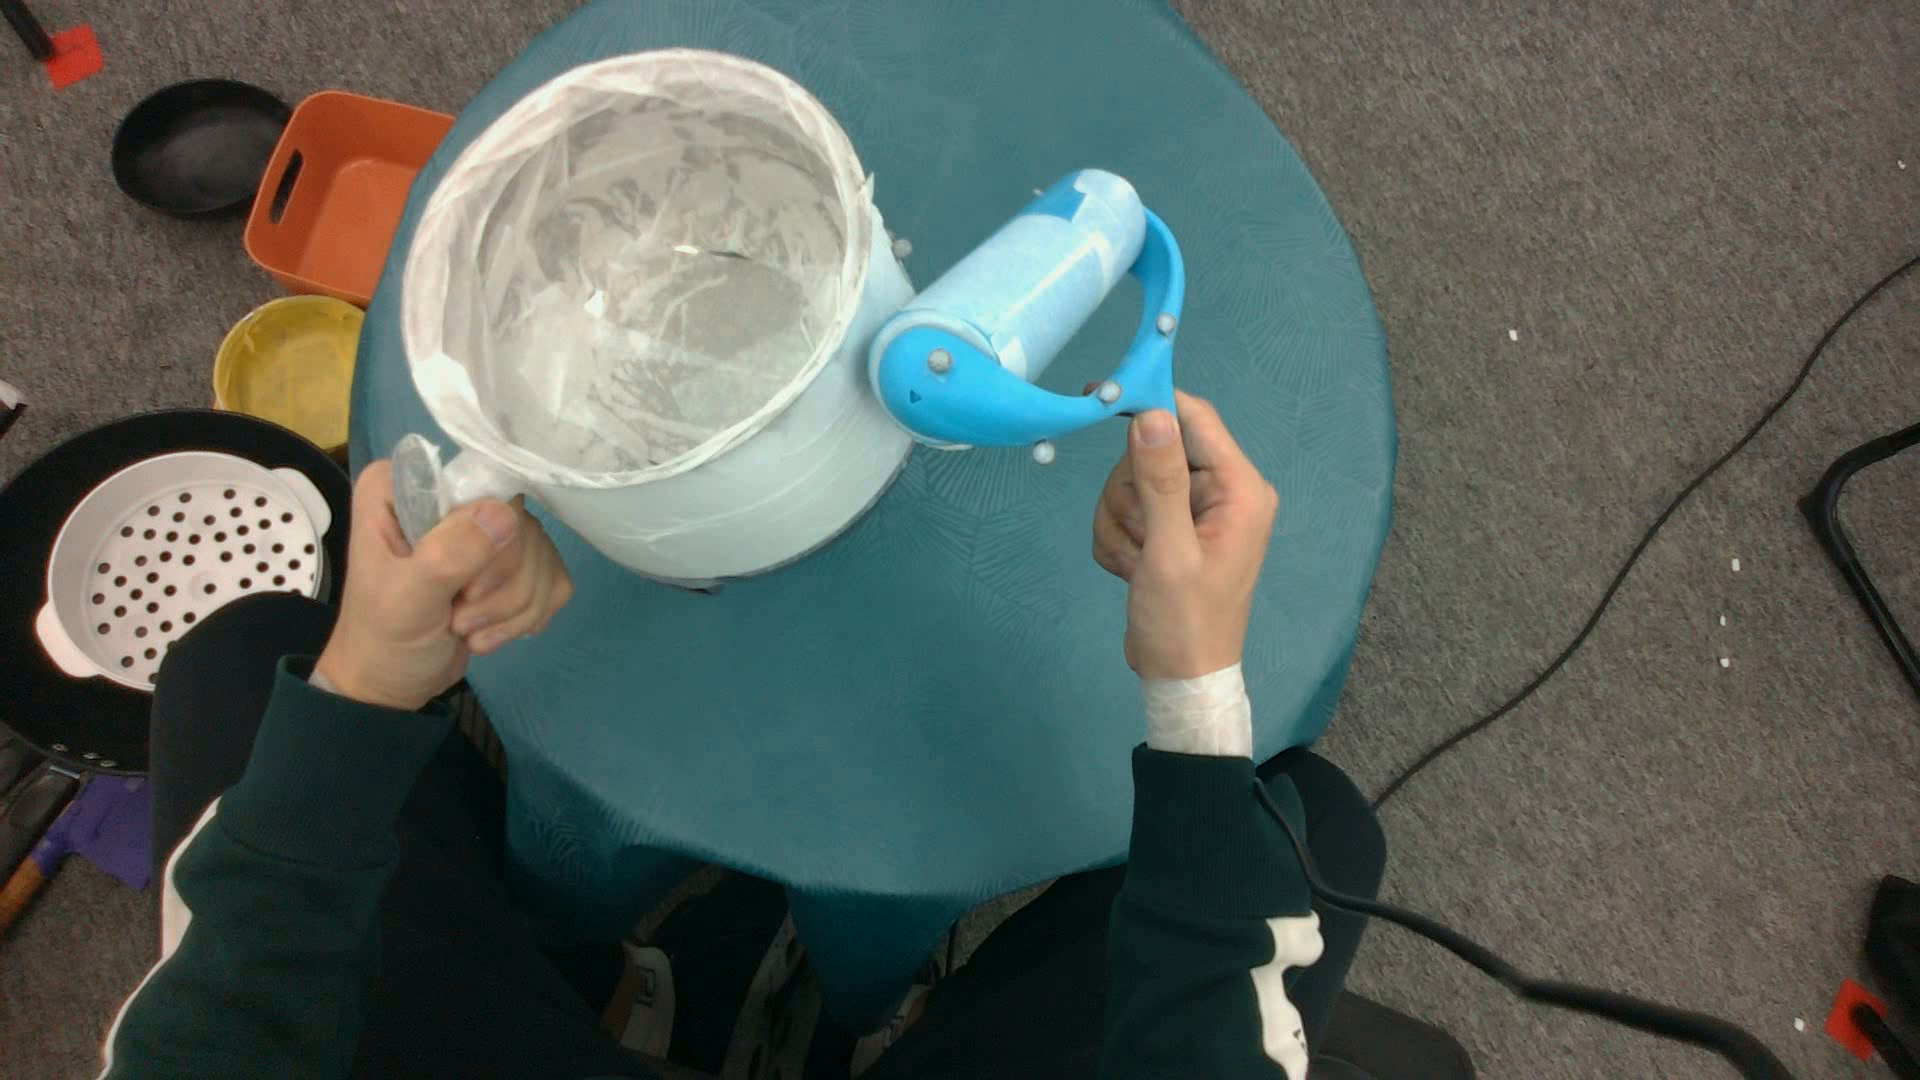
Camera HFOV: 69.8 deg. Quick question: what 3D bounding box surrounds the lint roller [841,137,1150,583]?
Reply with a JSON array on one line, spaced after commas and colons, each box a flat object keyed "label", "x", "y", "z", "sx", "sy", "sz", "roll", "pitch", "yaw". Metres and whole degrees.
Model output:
[{"label": "lint roller", "x": 0.045, "y": -0.065, "z": 0.576, "sx": 0.180, "sy": 0.067, "sz": 0.230, "roll": 54, "pitch": 31, "yaw": -19}]

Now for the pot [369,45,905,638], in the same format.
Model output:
[{"label": "pot", "x": -0.132, "y": -0.062, "z": 0.544, "sx": 0.179, "sy": 0.136, "sz": 0.234, "roll": 40, "pitch": 81, "yaw": 22}]
